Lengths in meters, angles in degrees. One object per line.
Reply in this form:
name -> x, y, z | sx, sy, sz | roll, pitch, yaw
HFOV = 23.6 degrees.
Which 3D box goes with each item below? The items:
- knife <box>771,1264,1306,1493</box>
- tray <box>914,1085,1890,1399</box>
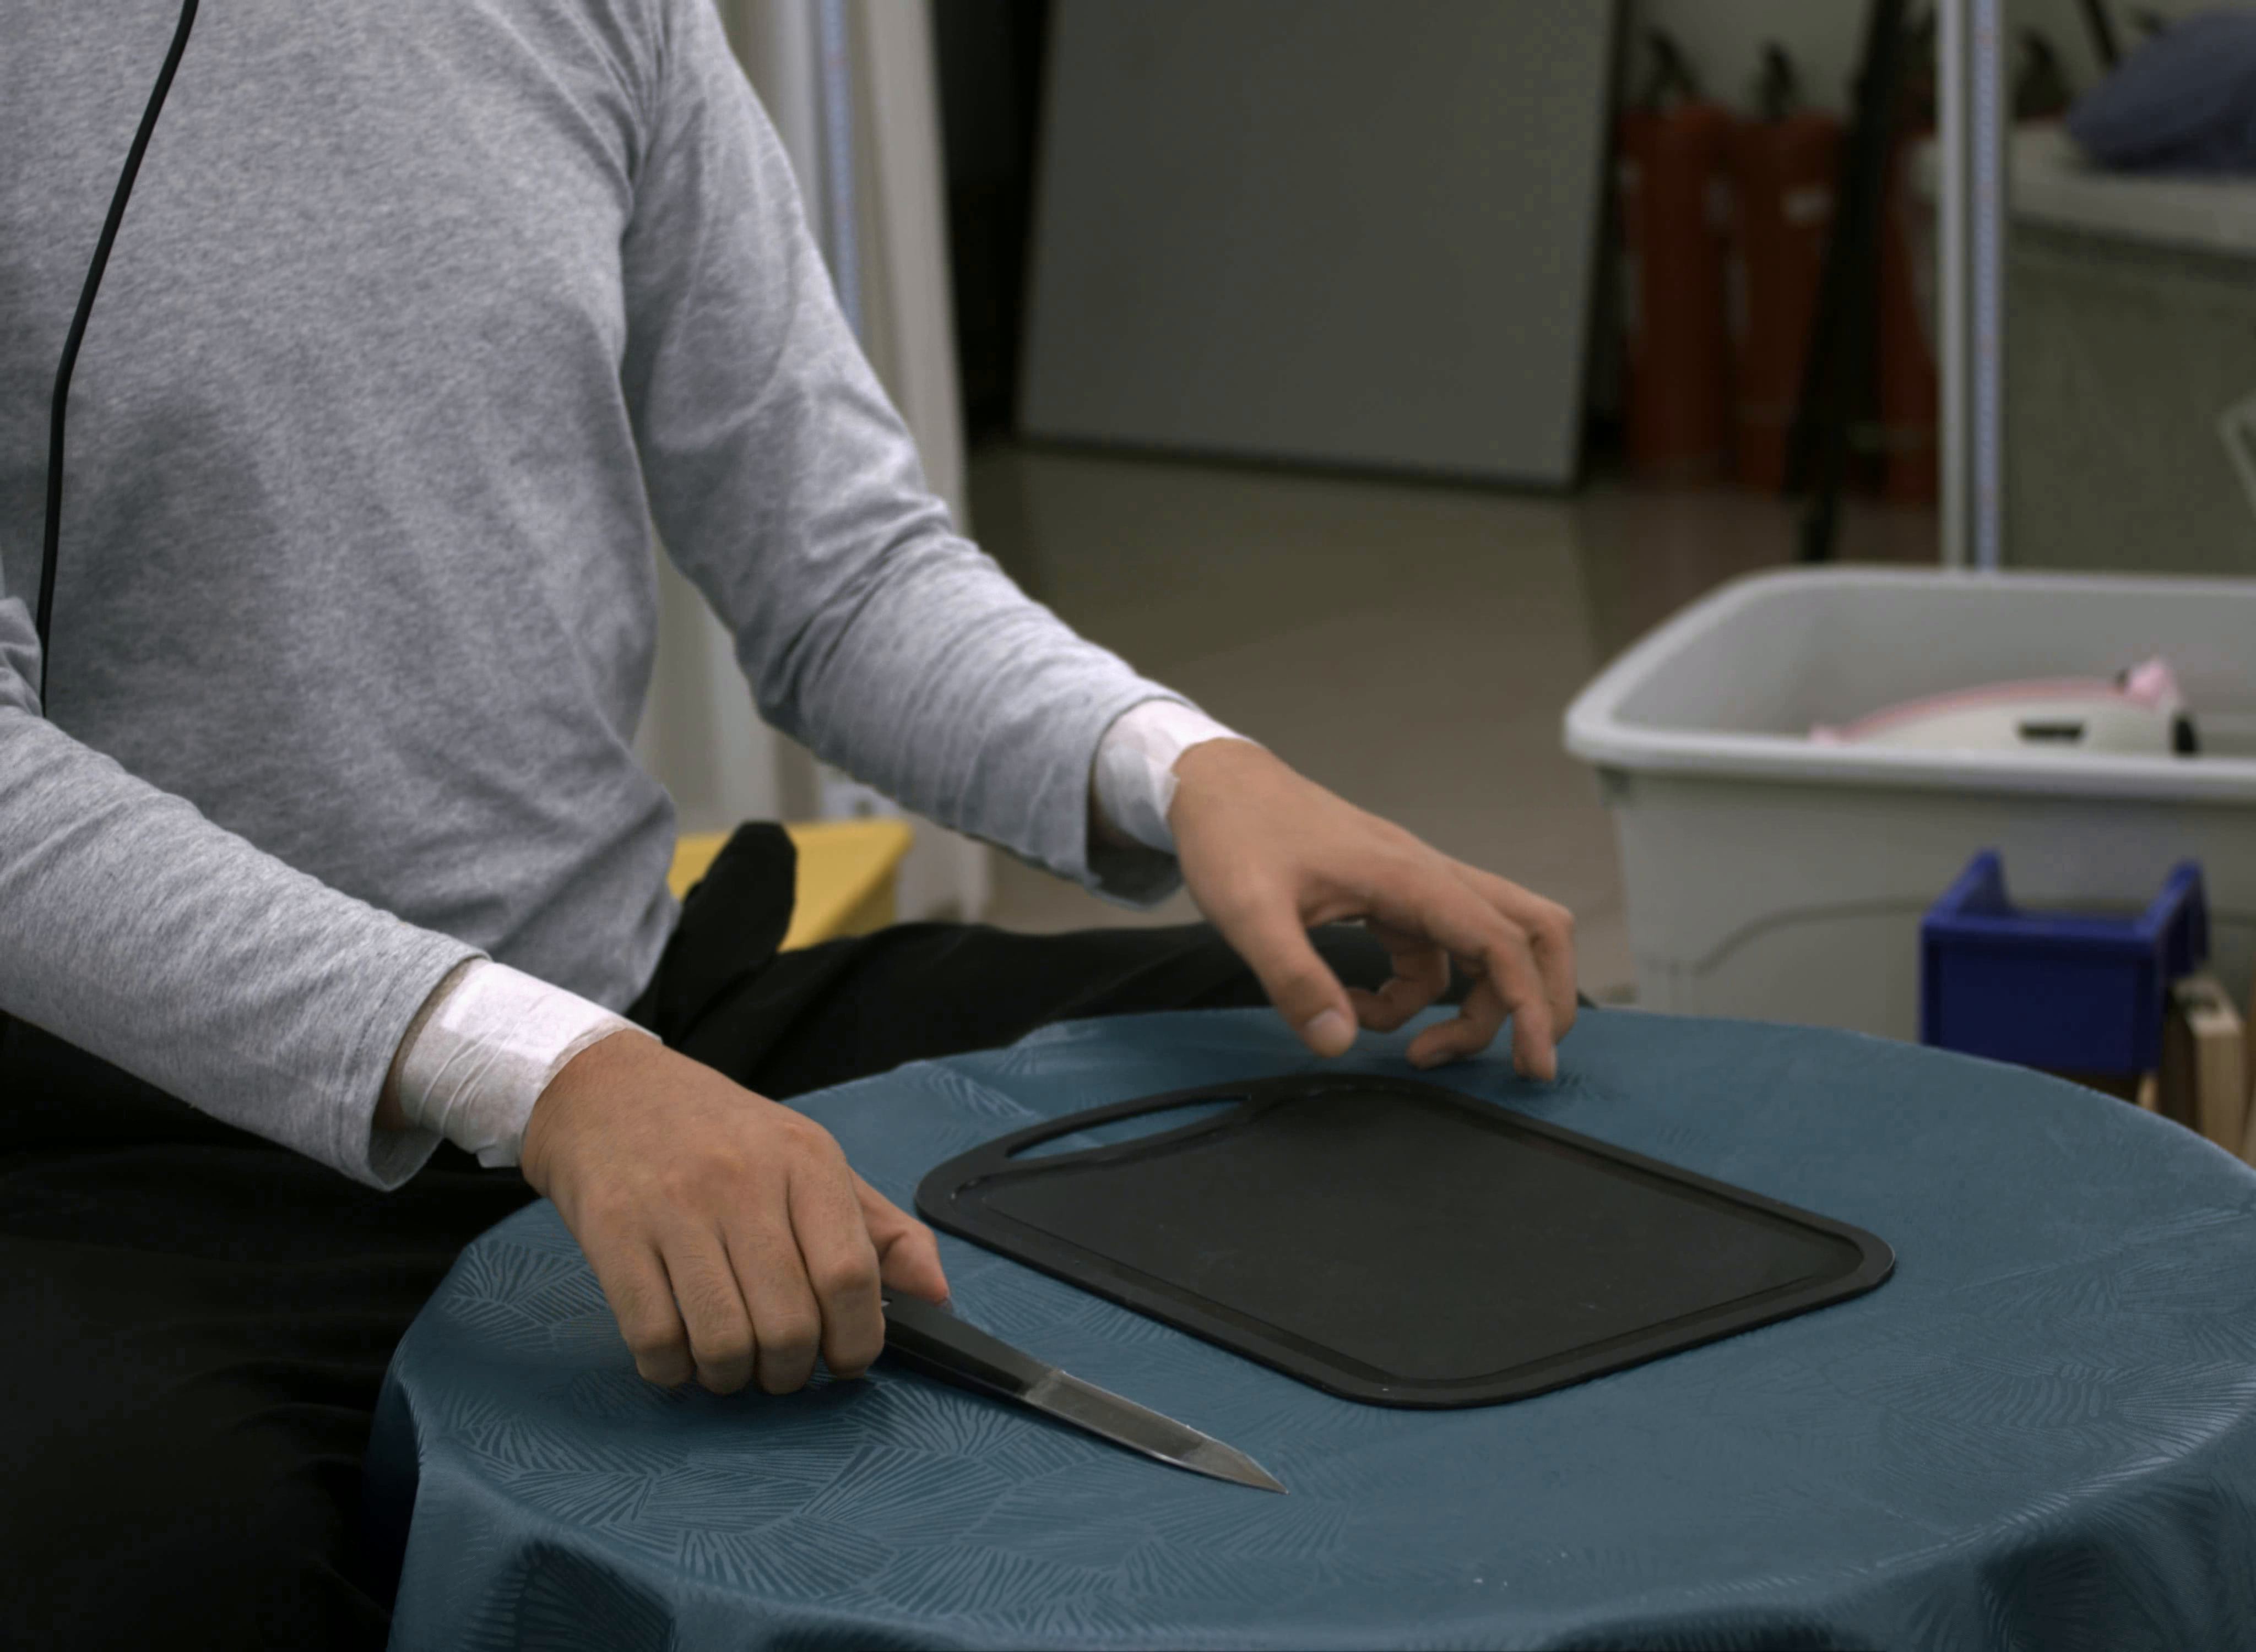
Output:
knife -> -0.031, 0.164, 1.585 | 0.024, 0.016, 0.240 | -16, 21, -38
tray -> 0.076, 0.126, 1.721 | 0.206, 0.010, 0.329 | -12, 15, -31
